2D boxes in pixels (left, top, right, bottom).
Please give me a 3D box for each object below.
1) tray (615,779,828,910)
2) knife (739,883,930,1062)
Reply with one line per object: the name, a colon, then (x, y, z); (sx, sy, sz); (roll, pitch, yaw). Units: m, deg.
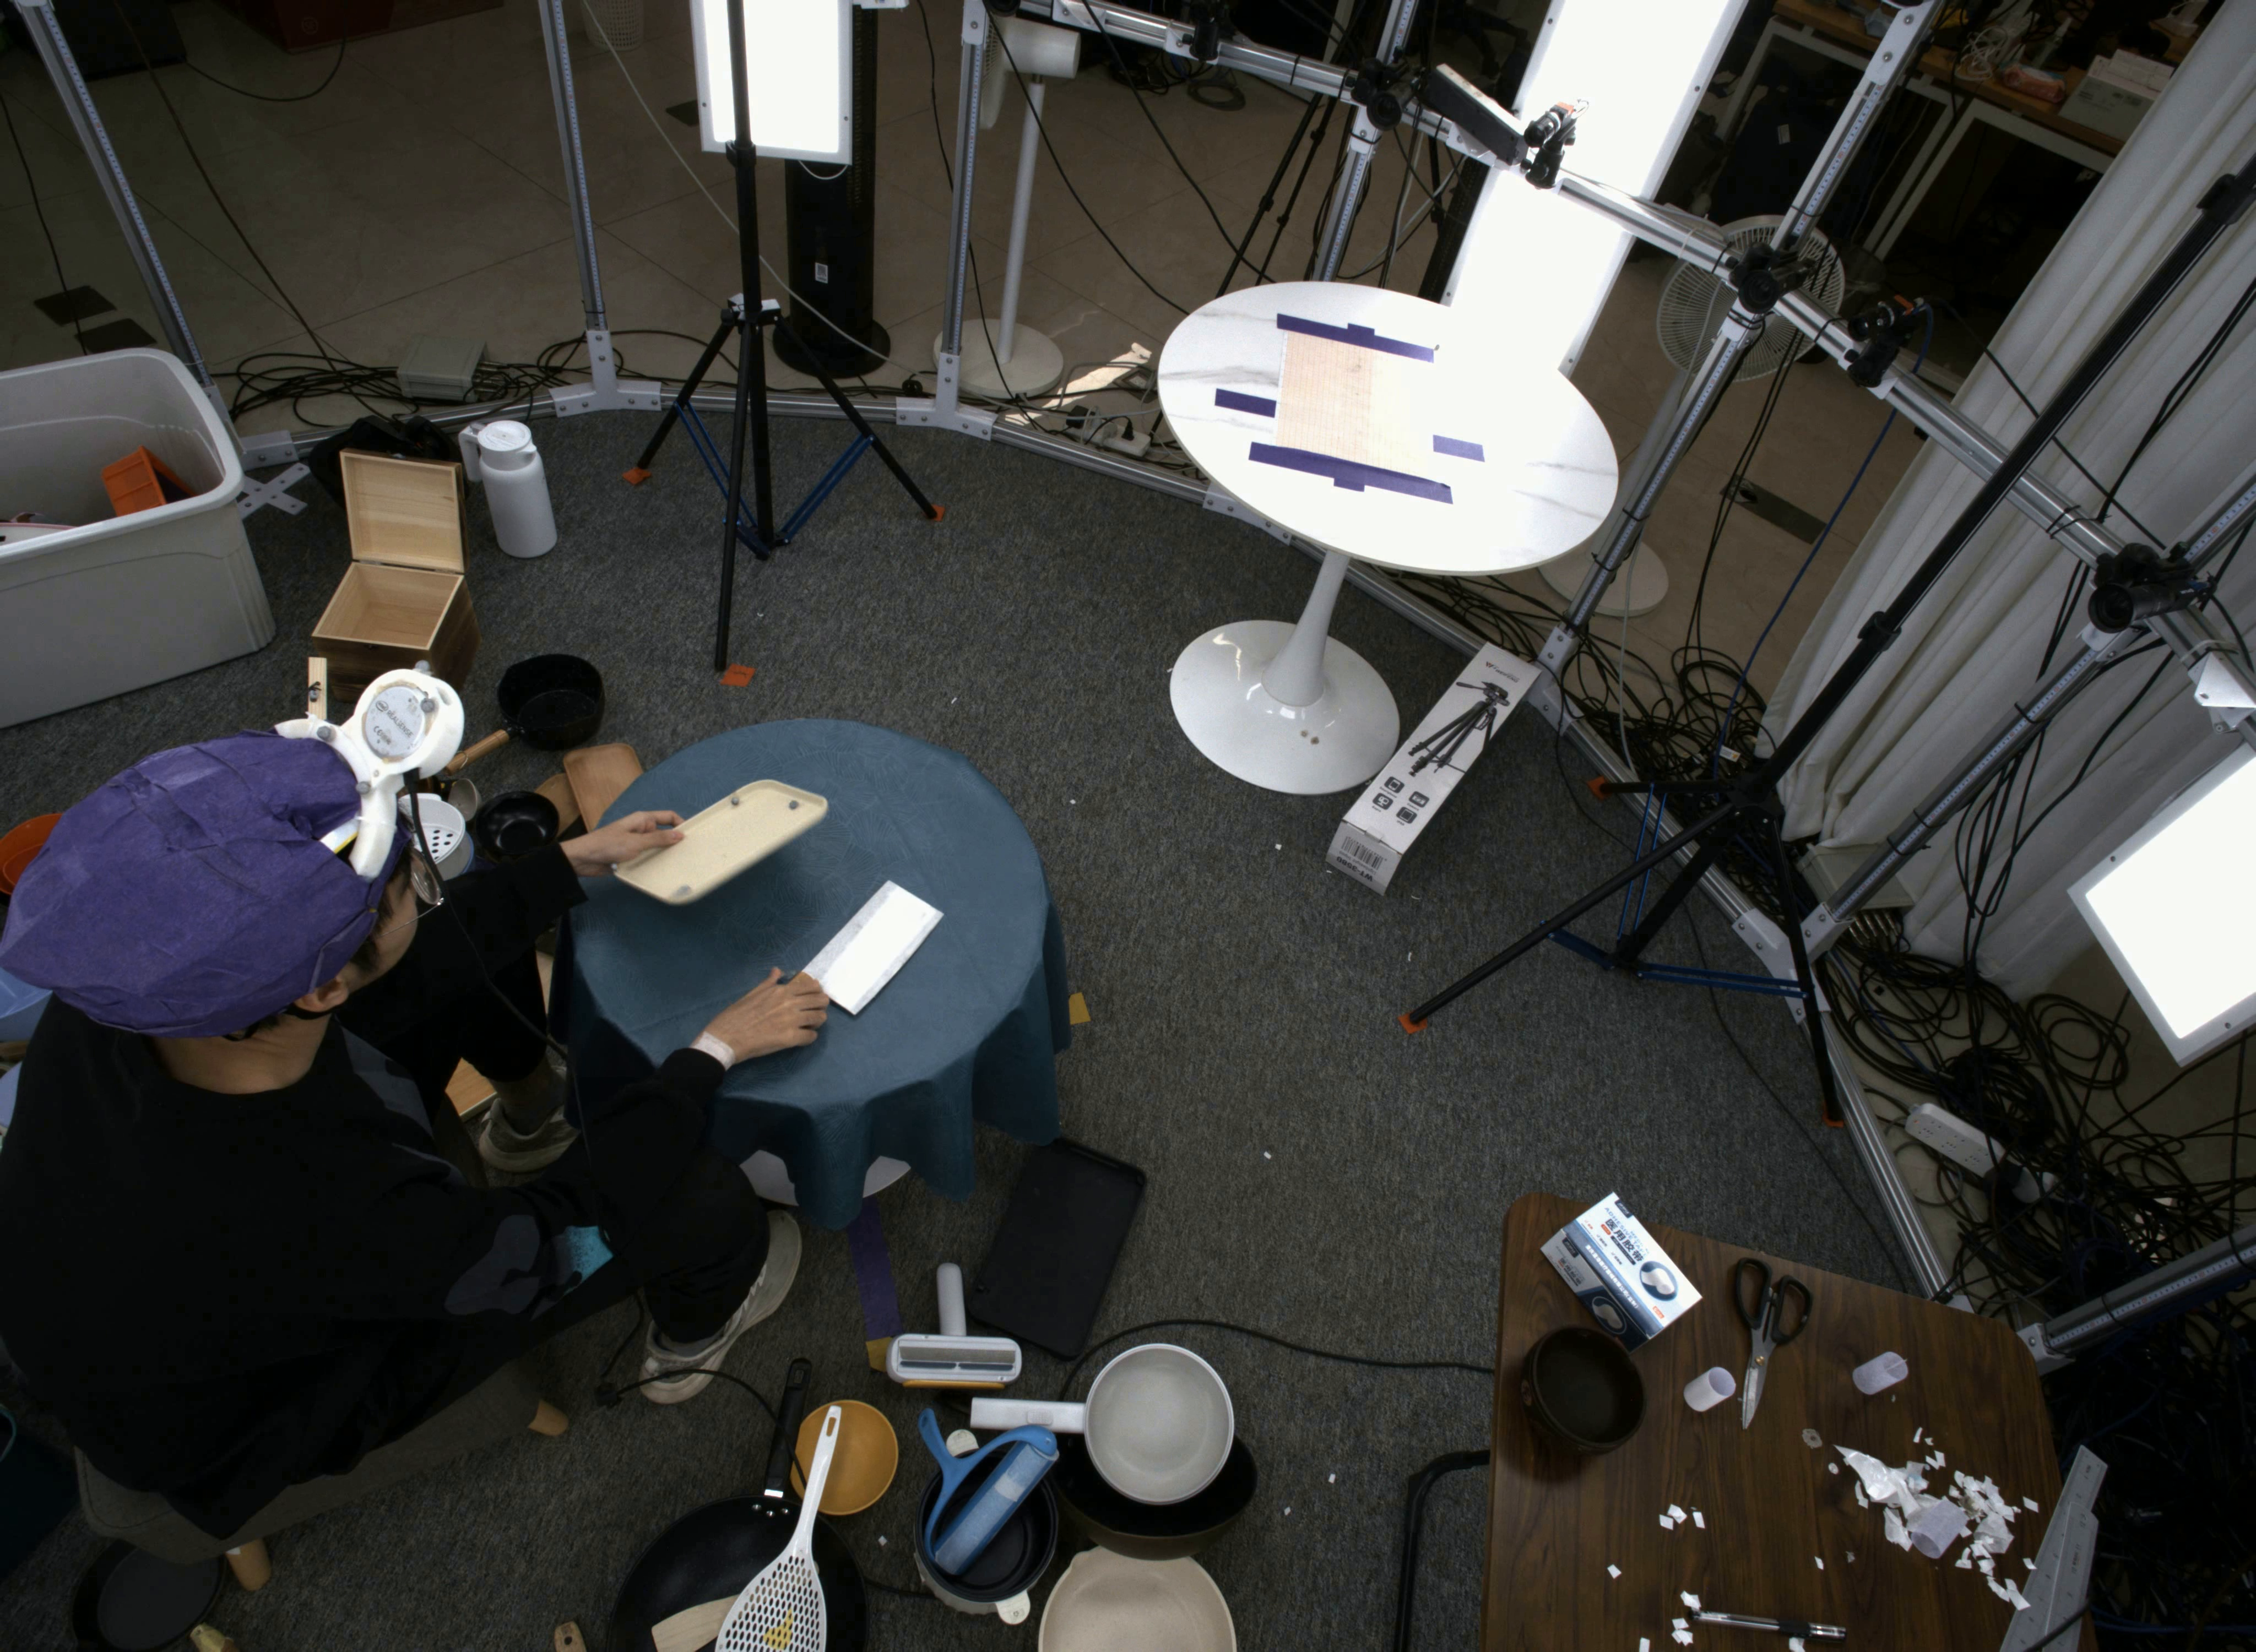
tray: (-0.490, 0.018, 1.559); (0.165, 0.018, 0.240); (18, 42, 37)
knife: (-0.348, 0.182, 1.588); (0.091, 0.021, 0.304); (31, 50, 8)
